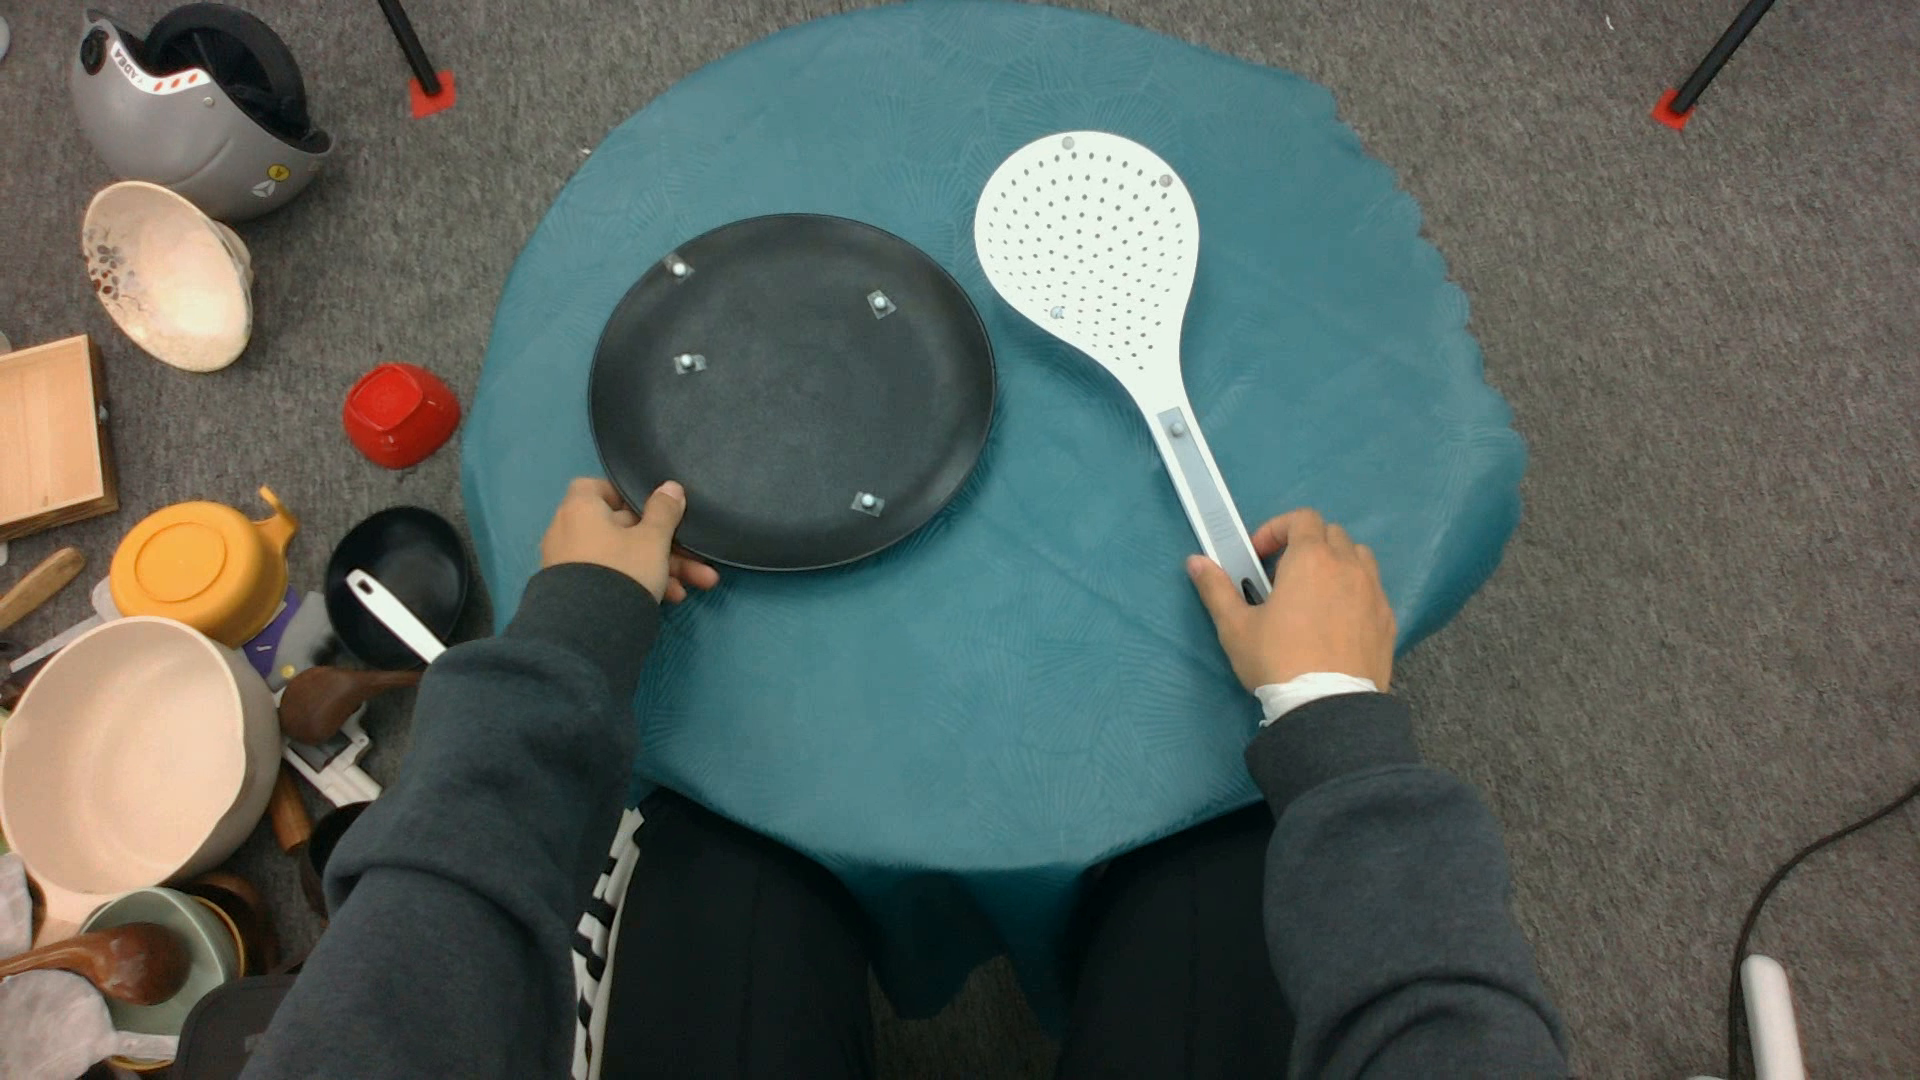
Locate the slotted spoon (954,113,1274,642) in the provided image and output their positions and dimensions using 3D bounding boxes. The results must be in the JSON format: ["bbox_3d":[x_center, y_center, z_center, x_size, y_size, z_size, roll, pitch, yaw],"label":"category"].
[{"bbox_3d":[0.103,-0.102,0.820,0.136,0.045,0.350,-20,71,-8],"label":"slotted spoon"}]

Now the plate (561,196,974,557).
[{"bbox_3d":[-0.113,-0.100,0.825,0.244,0.023,0.245,1,67,-2],"label":"plate"}]
